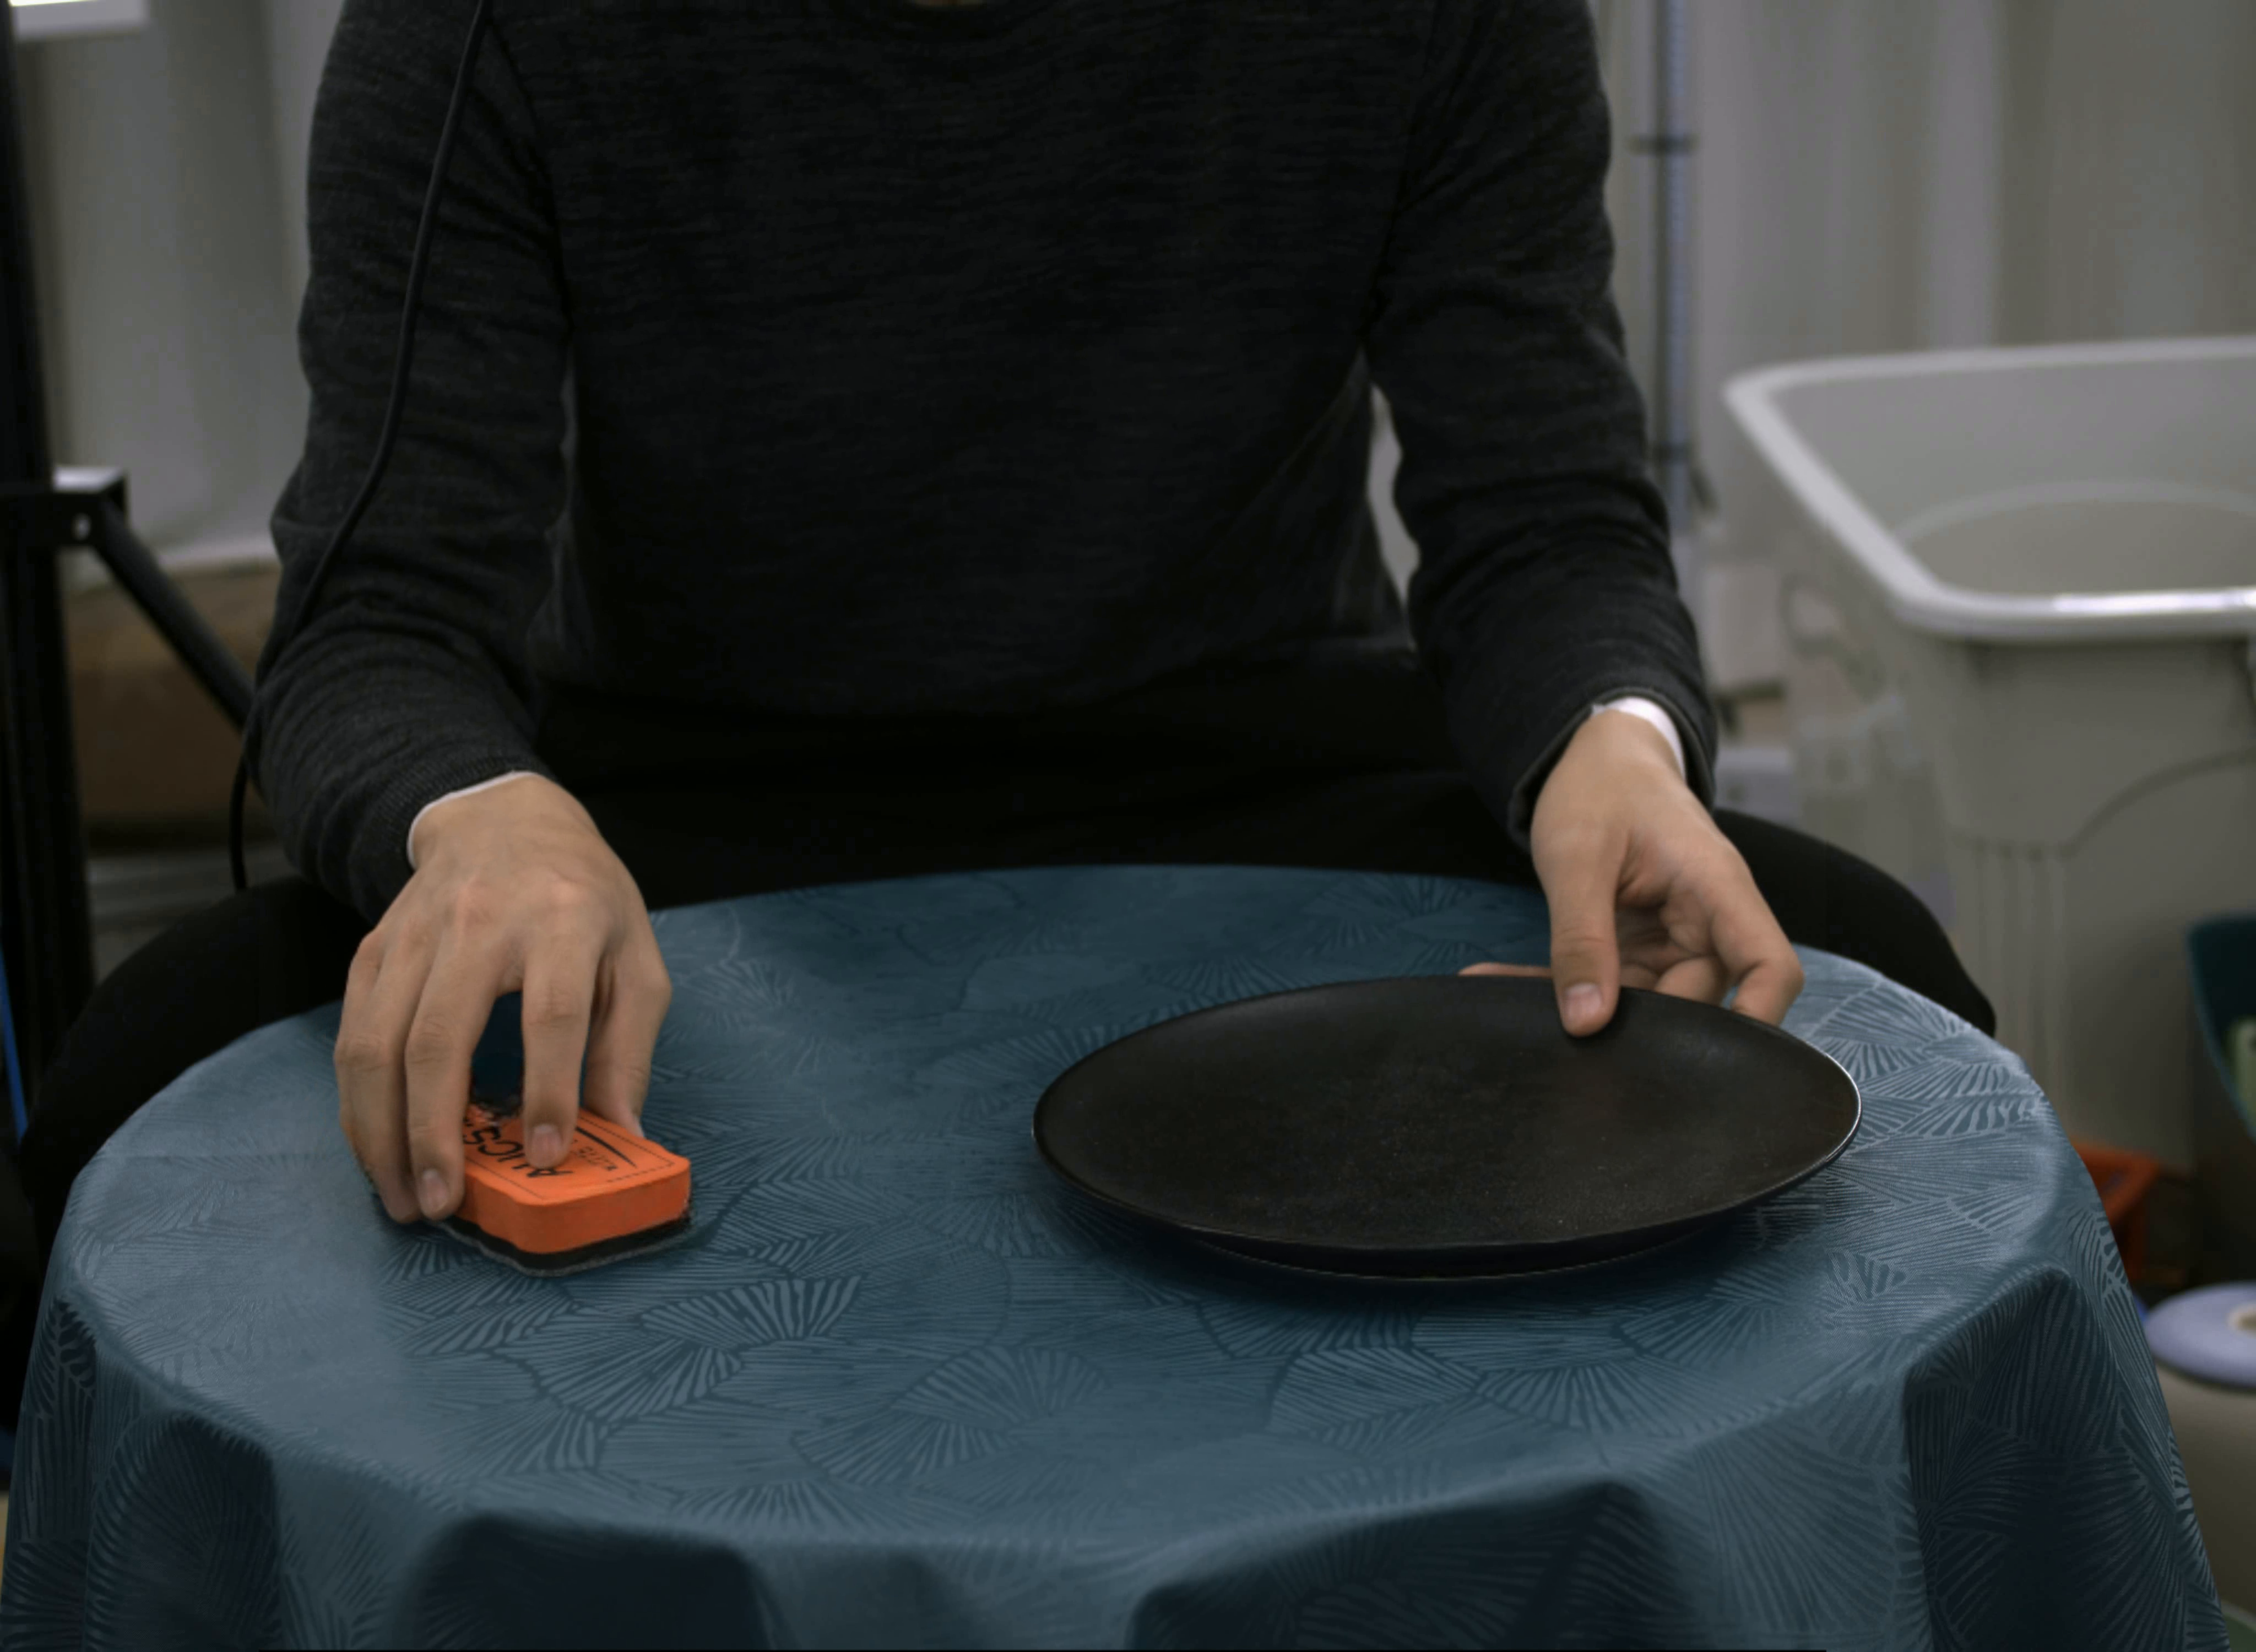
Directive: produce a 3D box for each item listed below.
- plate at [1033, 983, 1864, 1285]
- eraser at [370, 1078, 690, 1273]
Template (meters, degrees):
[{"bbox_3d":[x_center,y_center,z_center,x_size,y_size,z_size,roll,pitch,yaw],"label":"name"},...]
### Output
[{"bbox_3d":[0.094,0.092,1.555,0.243,0.023,0.245,-3,16,-1],"label":"plate"},{"bbox_3d":[-0.176,0.102,1.562,0.057,0.023,0.110,-10,18,-32],"label":"eraser"}]
